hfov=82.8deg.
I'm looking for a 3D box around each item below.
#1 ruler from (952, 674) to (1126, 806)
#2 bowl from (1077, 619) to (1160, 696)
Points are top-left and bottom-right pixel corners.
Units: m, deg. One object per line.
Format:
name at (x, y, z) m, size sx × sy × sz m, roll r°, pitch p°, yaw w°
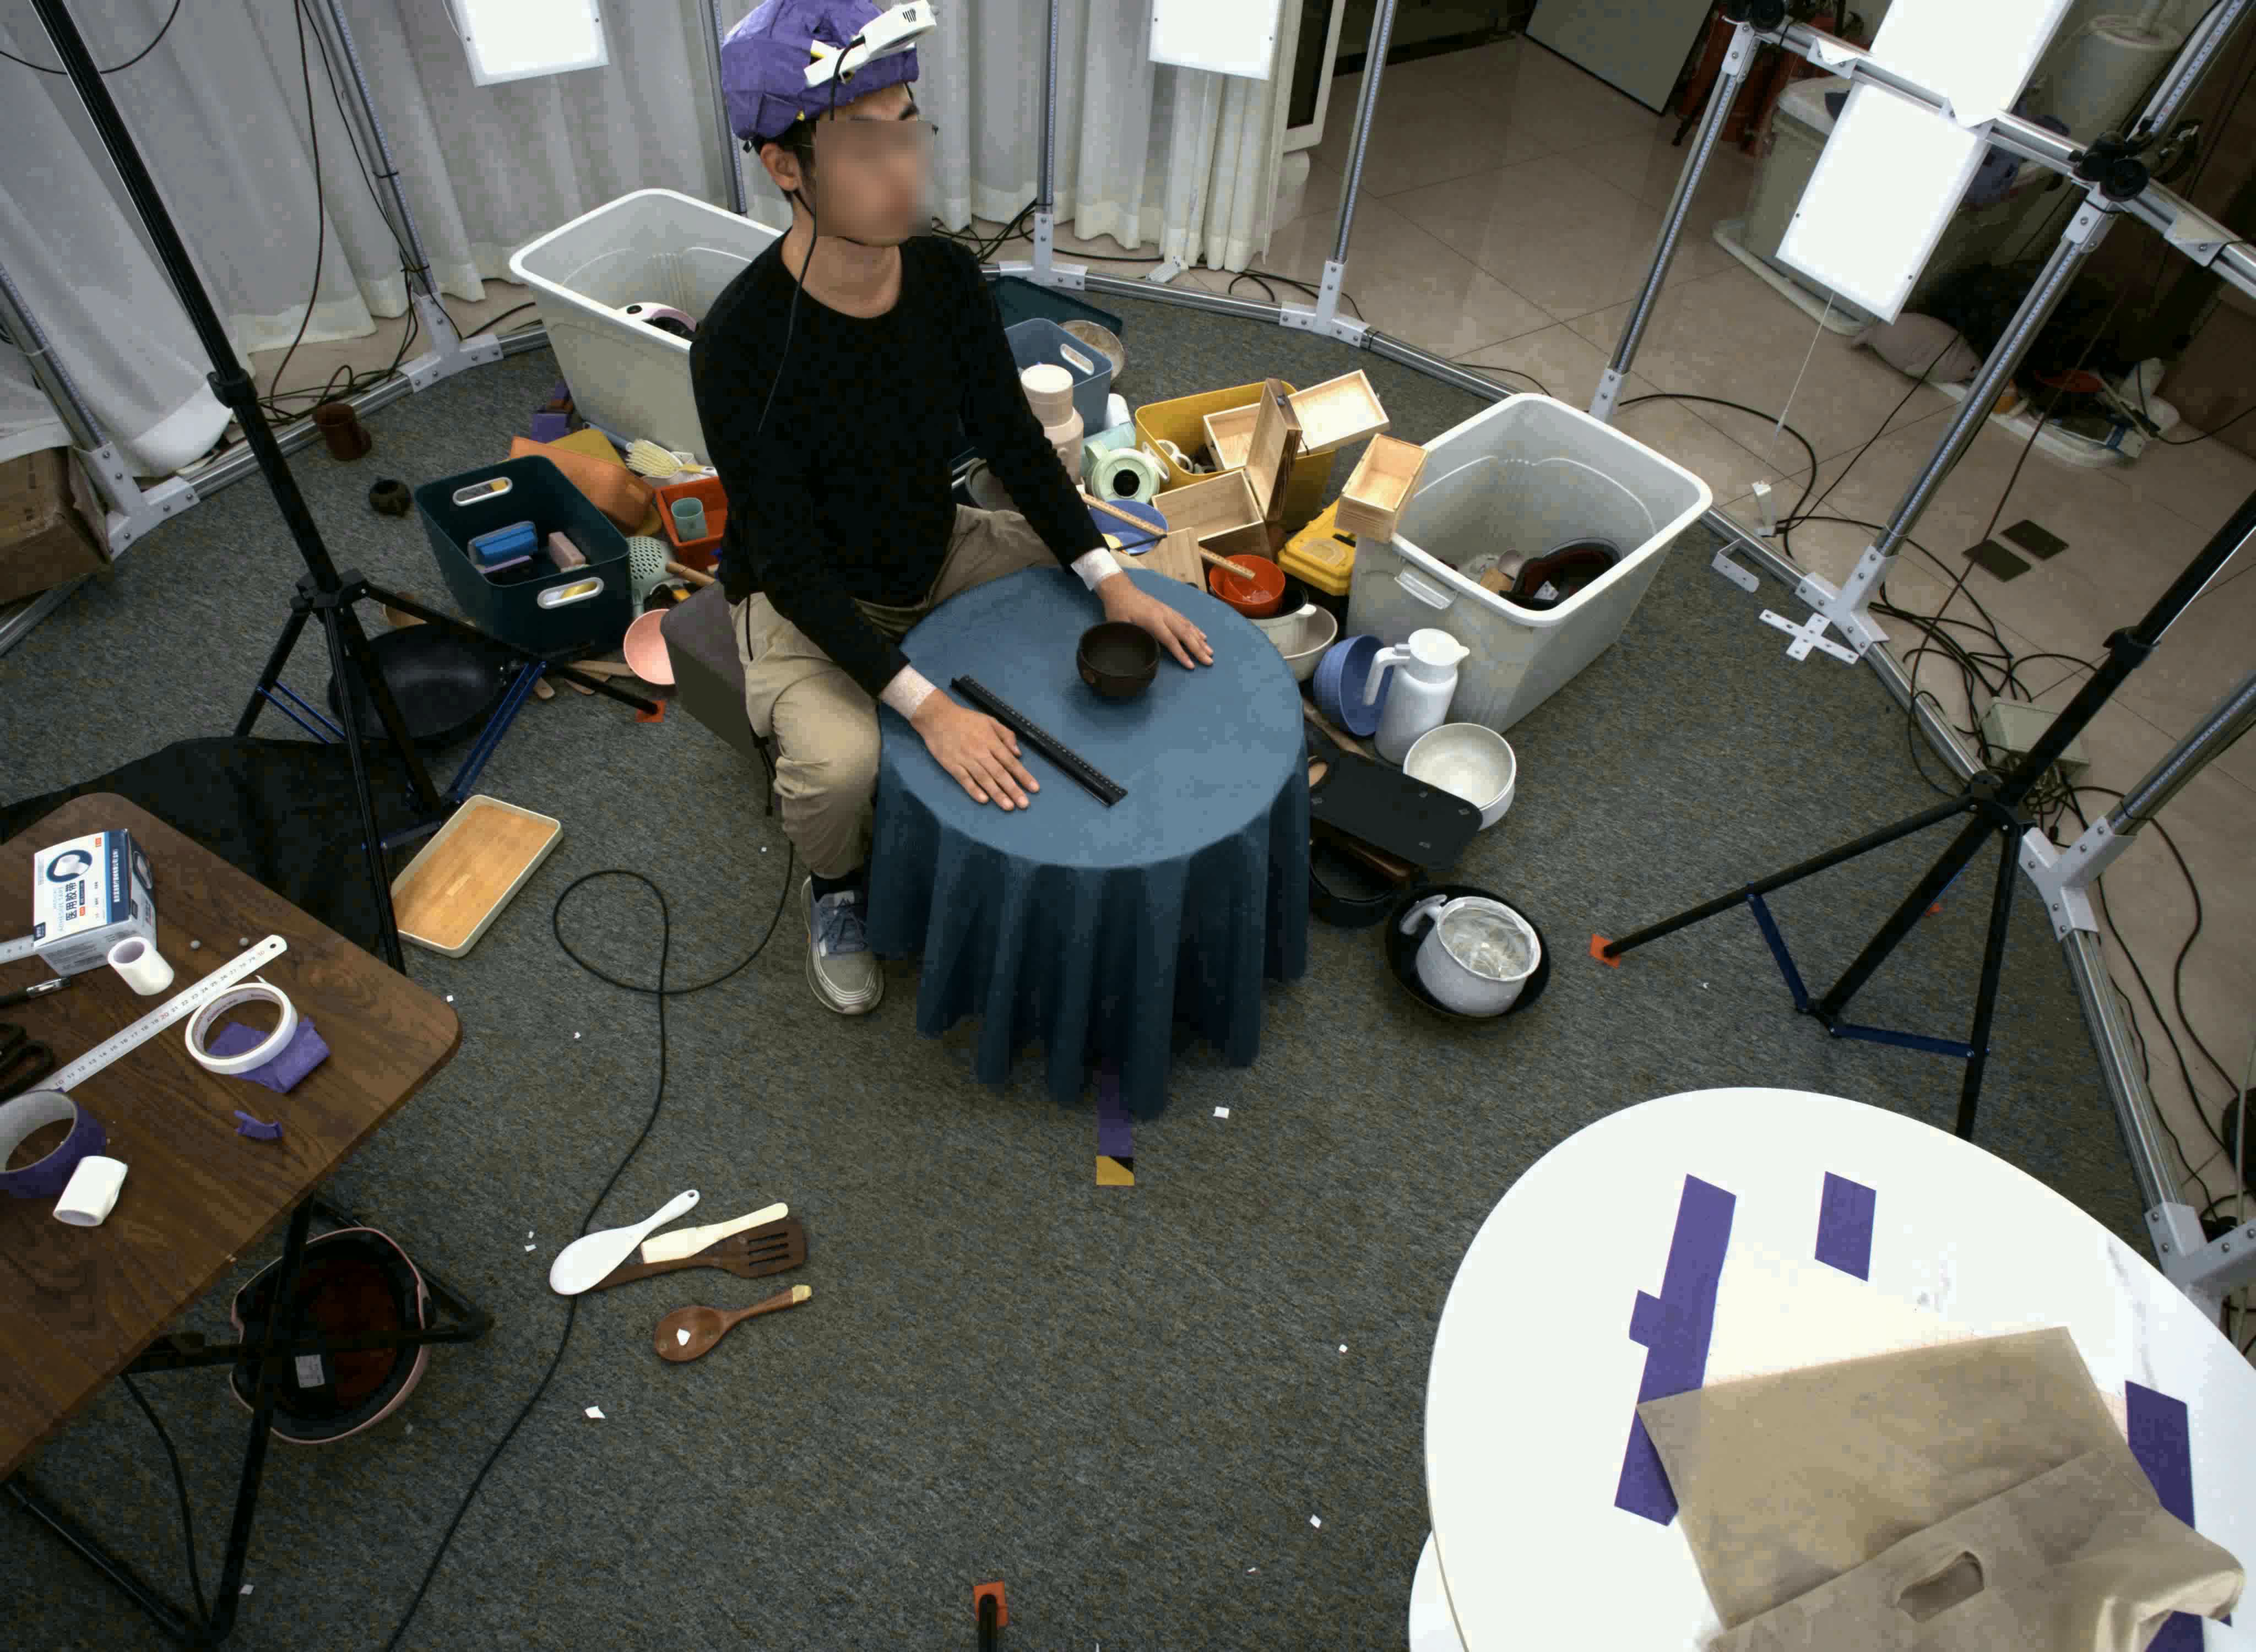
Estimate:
ruler at (-0.125, -0.126, 1.761) m, size 0.317 × 0.017 × 0.039 m, roll 38°, pitch 52°, yaw 26°
bowl at (-0.015, -0.231, 1.821) m, size 0.118 × 0.068 × 0.121 m, roll 2°, pitch 49°, yaw -3°
